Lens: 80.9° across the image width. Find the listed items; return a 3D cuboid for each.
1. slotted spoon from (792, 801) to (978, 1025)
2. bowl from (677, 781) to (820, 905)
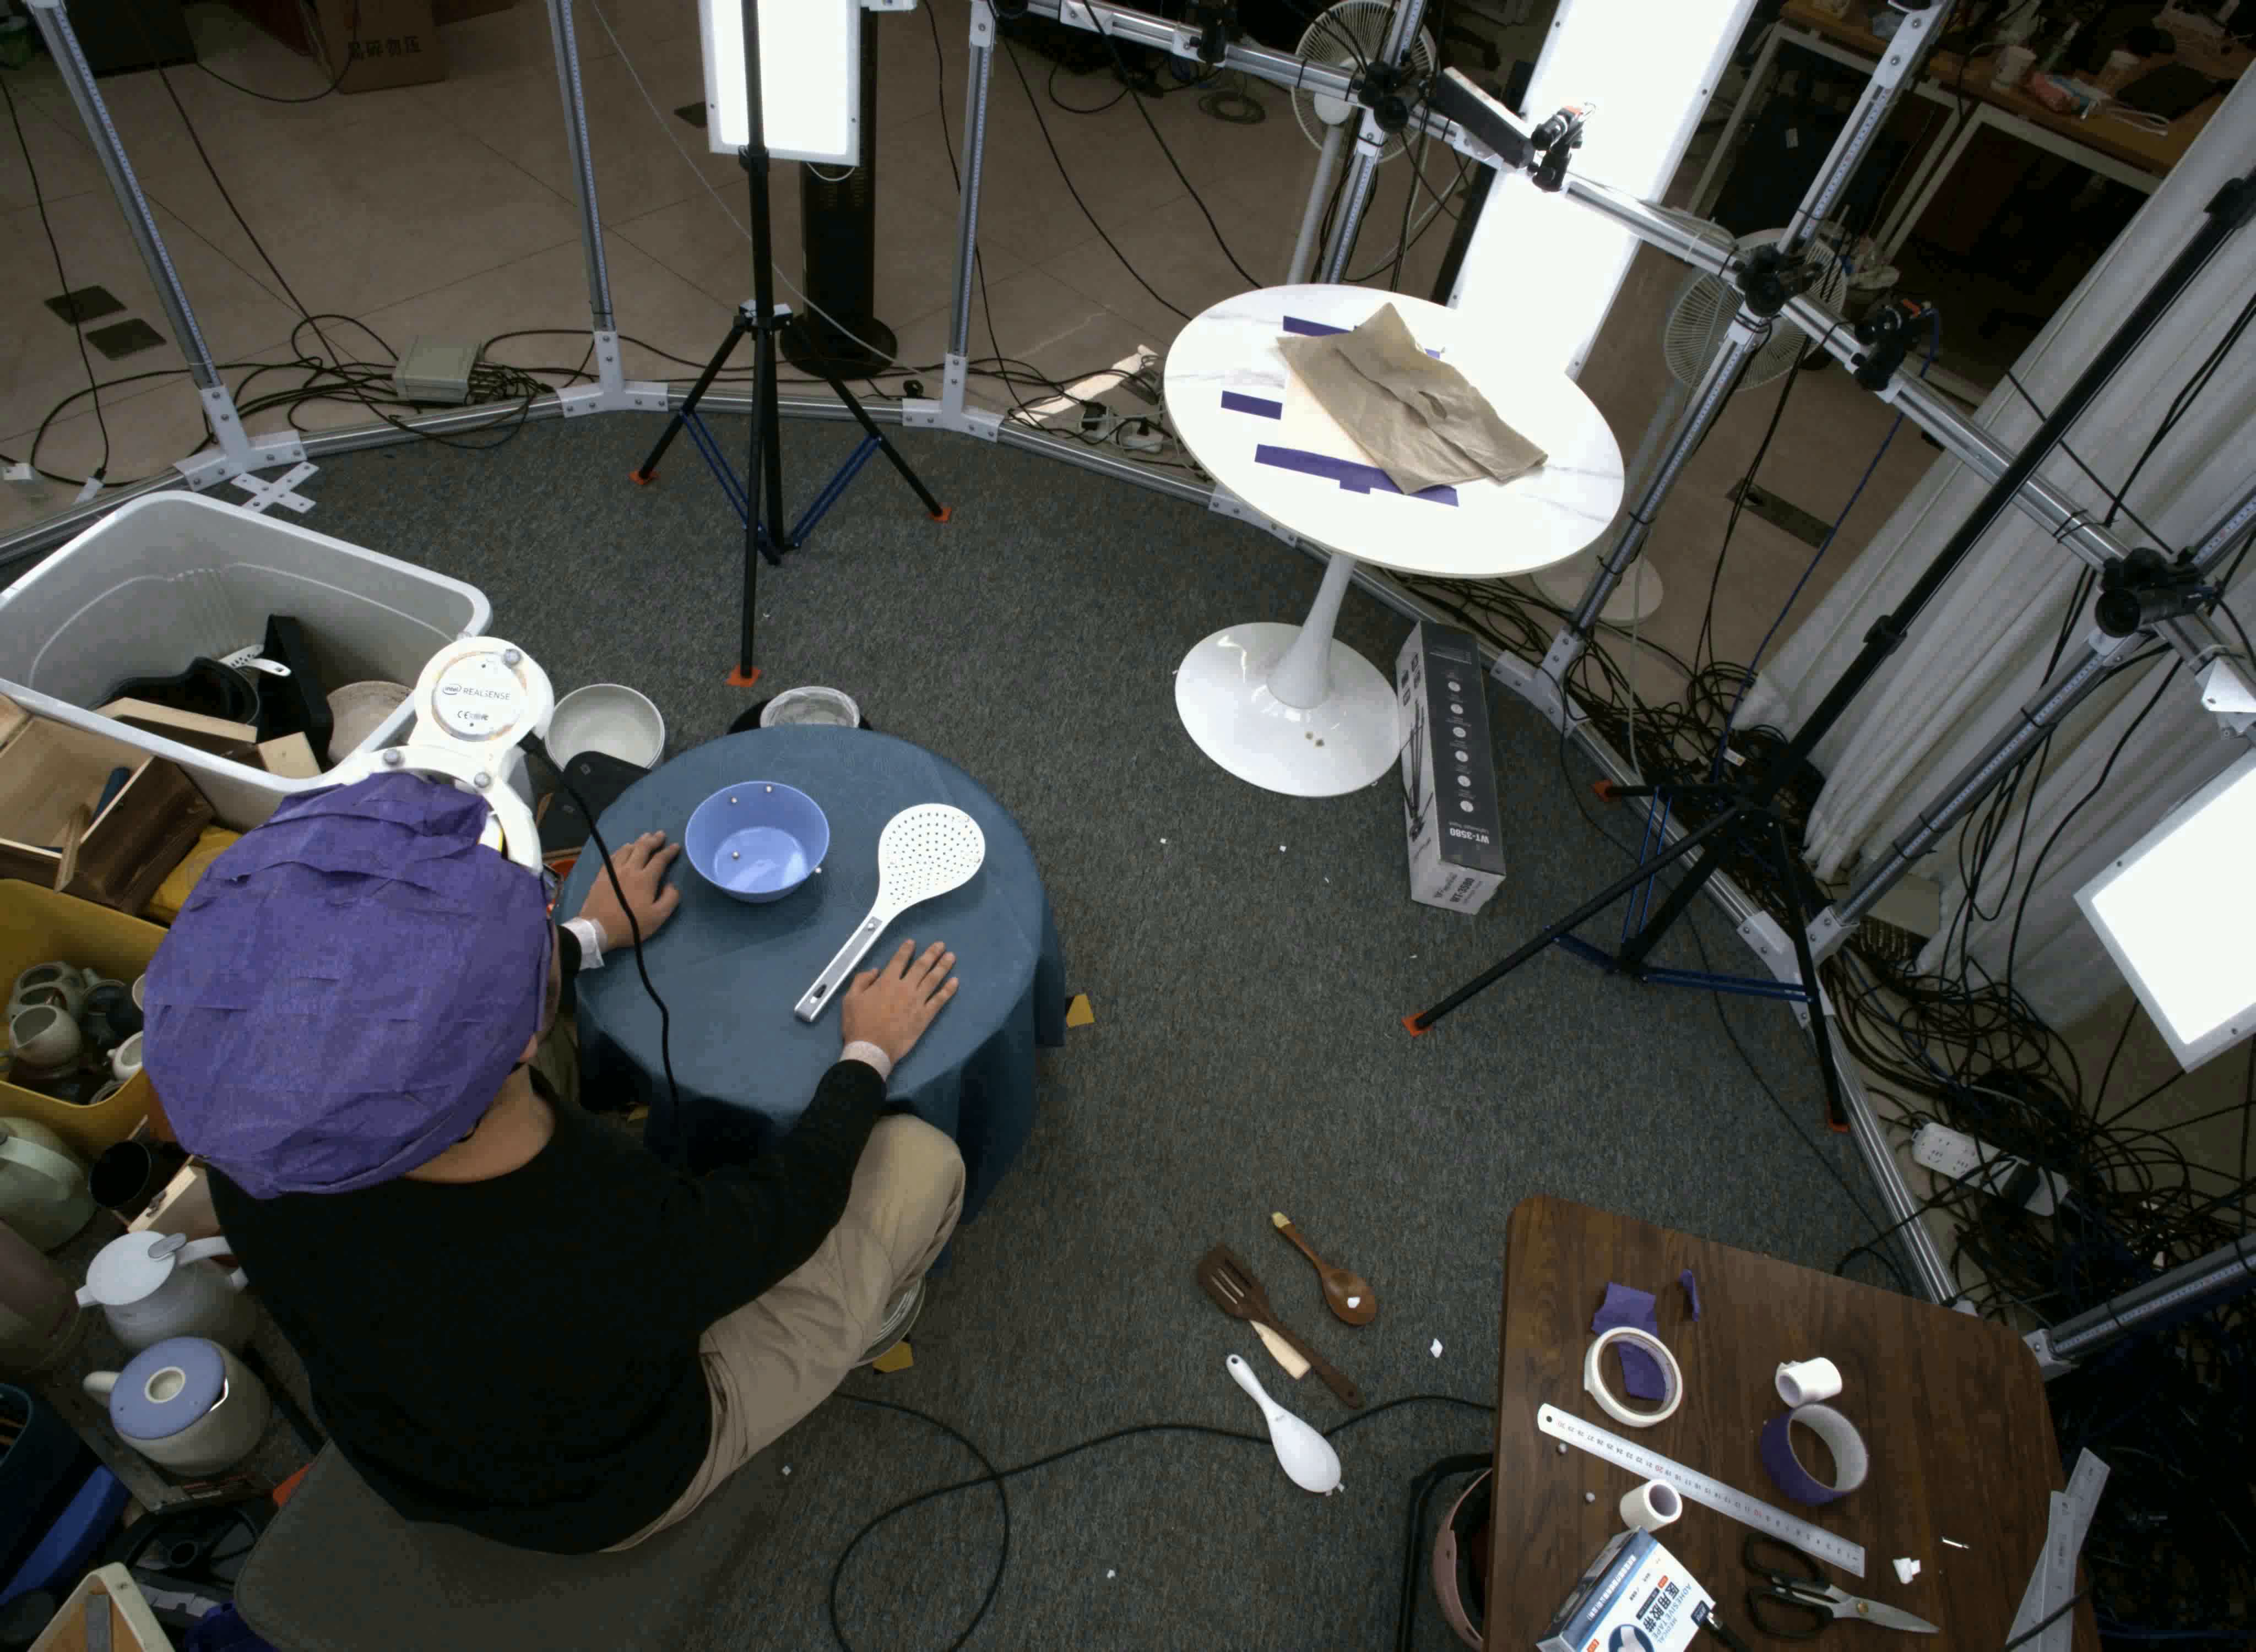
[{"bbox_3d":[-0.313,0.105,1.640,0.134,0.046,0.348,28,53,7],"label":"slotted spoon"},{"bbox_3d":[-0.477,0.031,1.636,0.175,0.071,0.173,7,53,-8],"label":"bowl"}]
